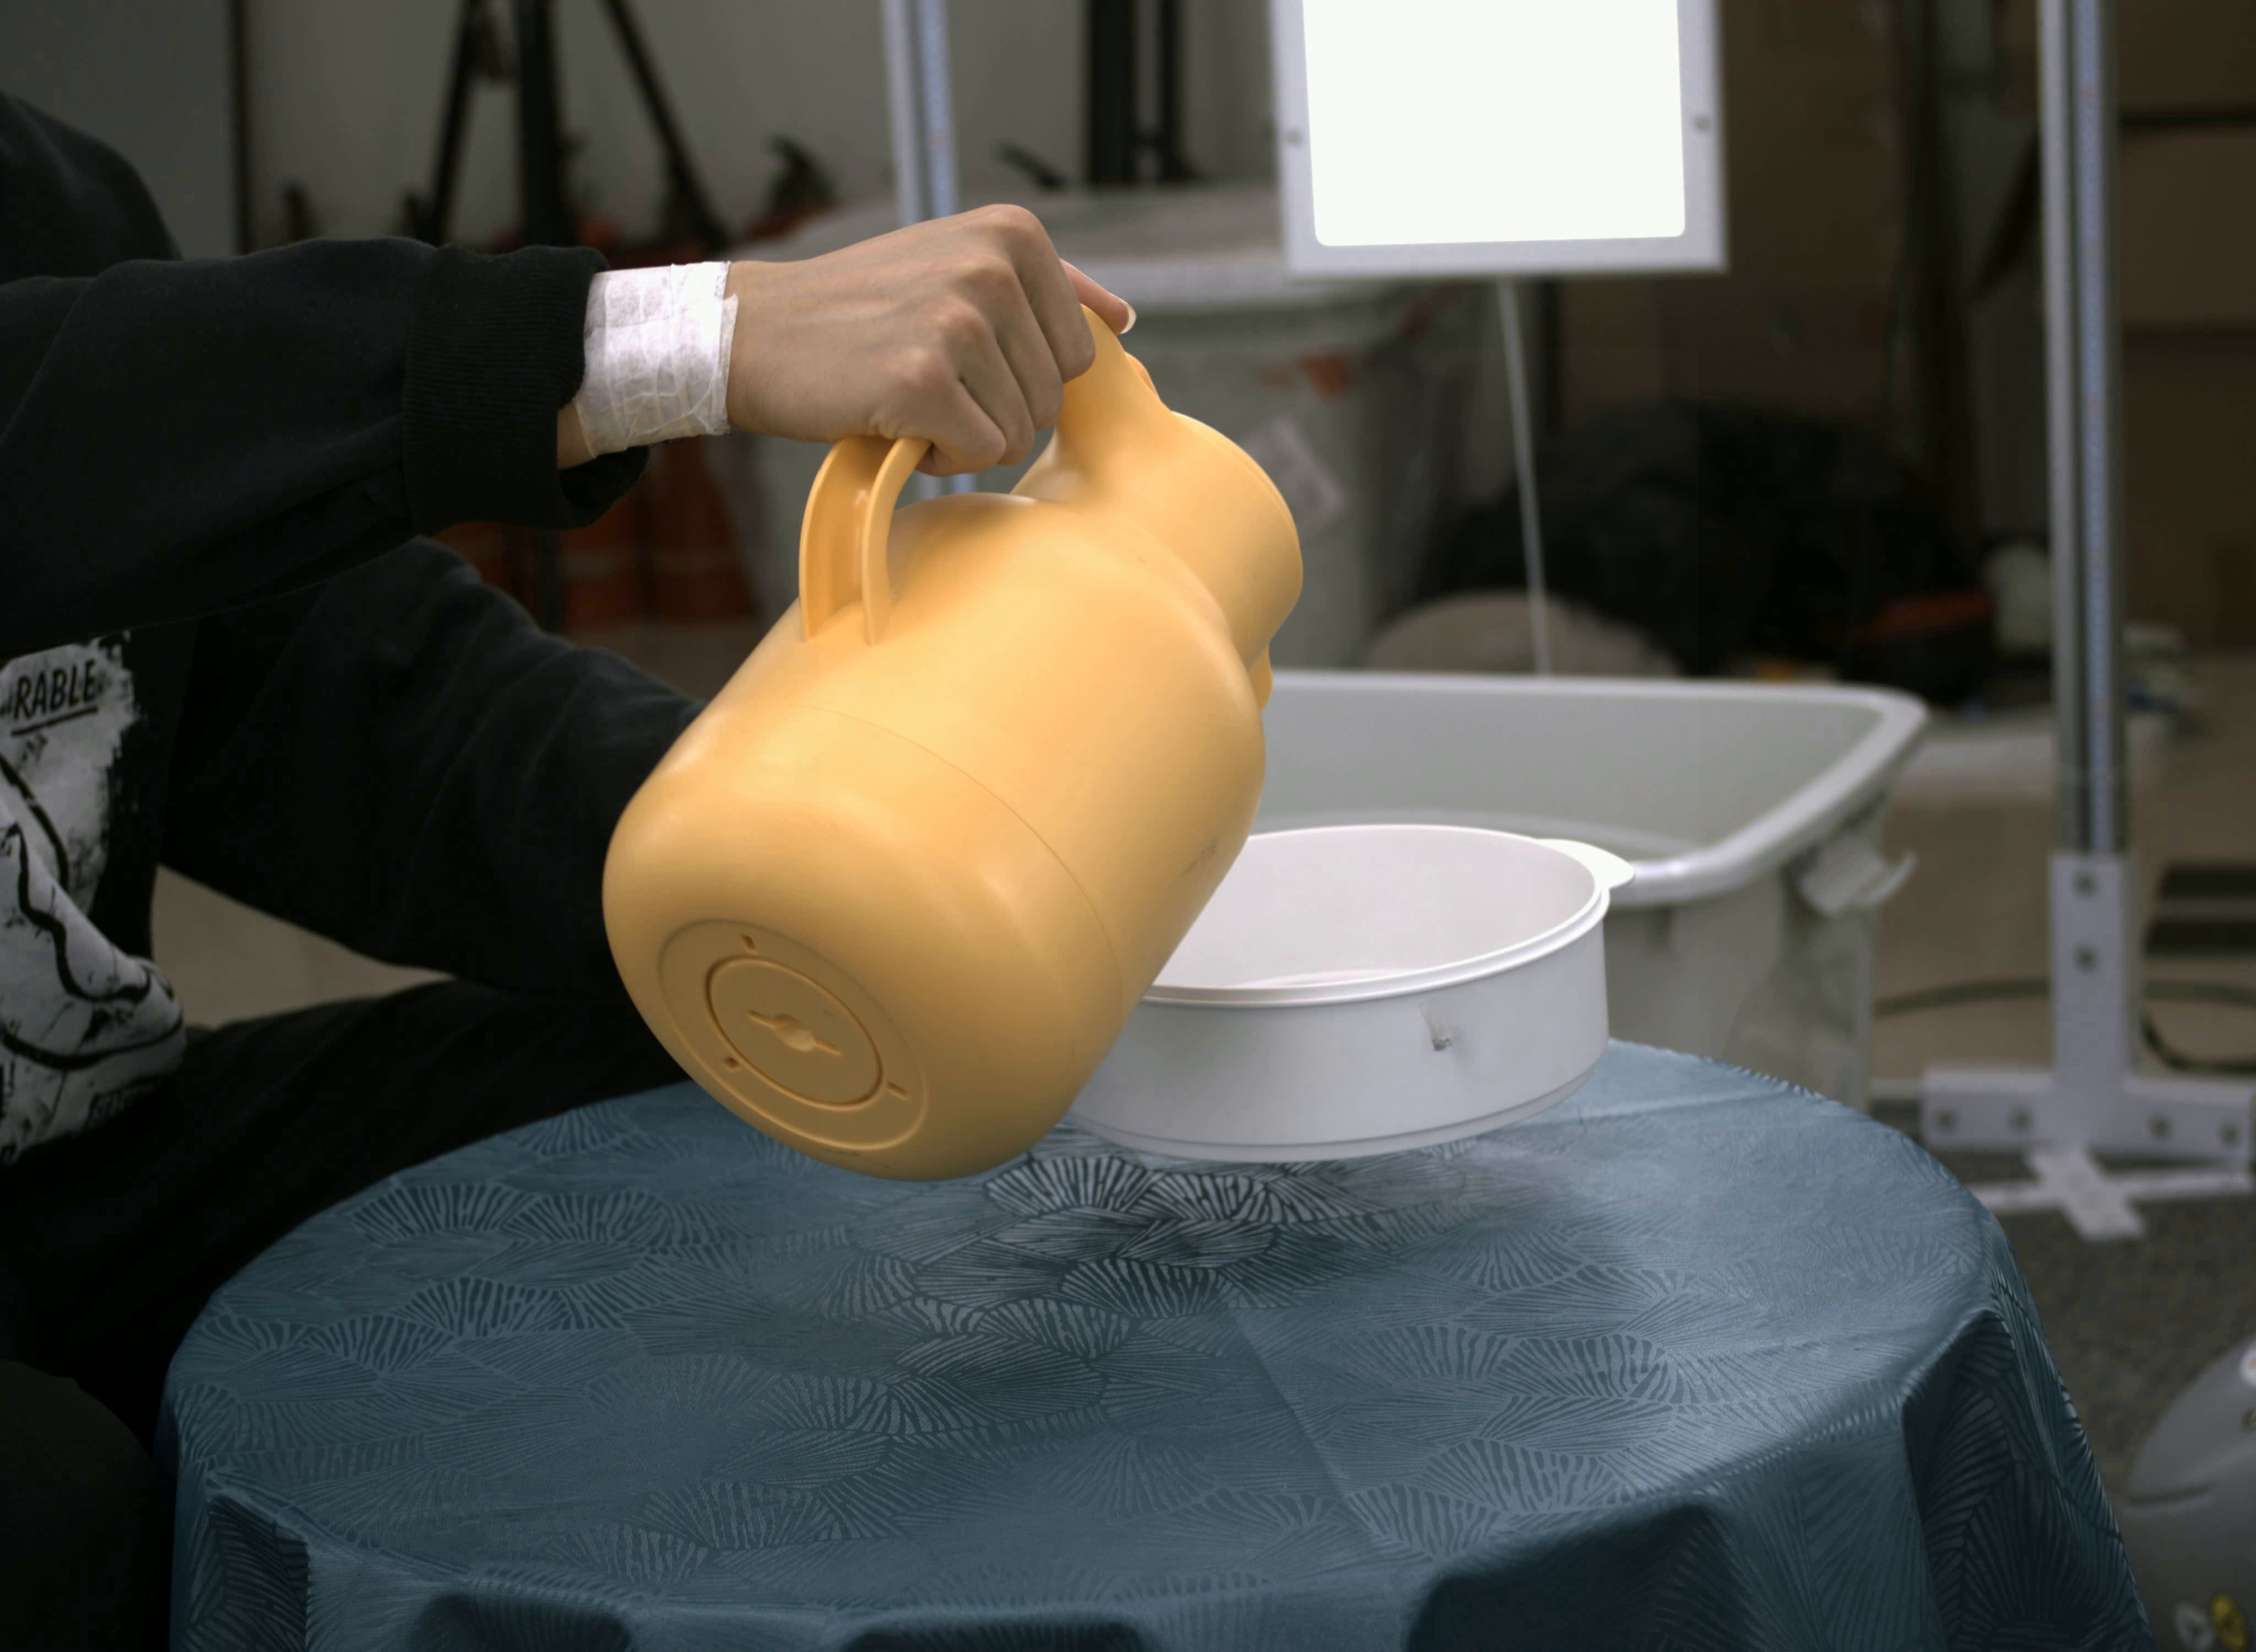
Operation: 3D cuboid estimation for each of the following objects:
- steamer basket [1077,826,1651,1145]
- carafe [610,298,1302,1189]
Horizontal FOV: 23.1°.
[{"bbox_3d":[0.072,0.055,1.886,0.226,0.069,0.205,-8,14,-20],"label":"steamer basket"},{"bbox_3d":[-0.048,-0.035,1.712,0.167,0.201,0.256,1,42,37],"label":"carafe"}]
